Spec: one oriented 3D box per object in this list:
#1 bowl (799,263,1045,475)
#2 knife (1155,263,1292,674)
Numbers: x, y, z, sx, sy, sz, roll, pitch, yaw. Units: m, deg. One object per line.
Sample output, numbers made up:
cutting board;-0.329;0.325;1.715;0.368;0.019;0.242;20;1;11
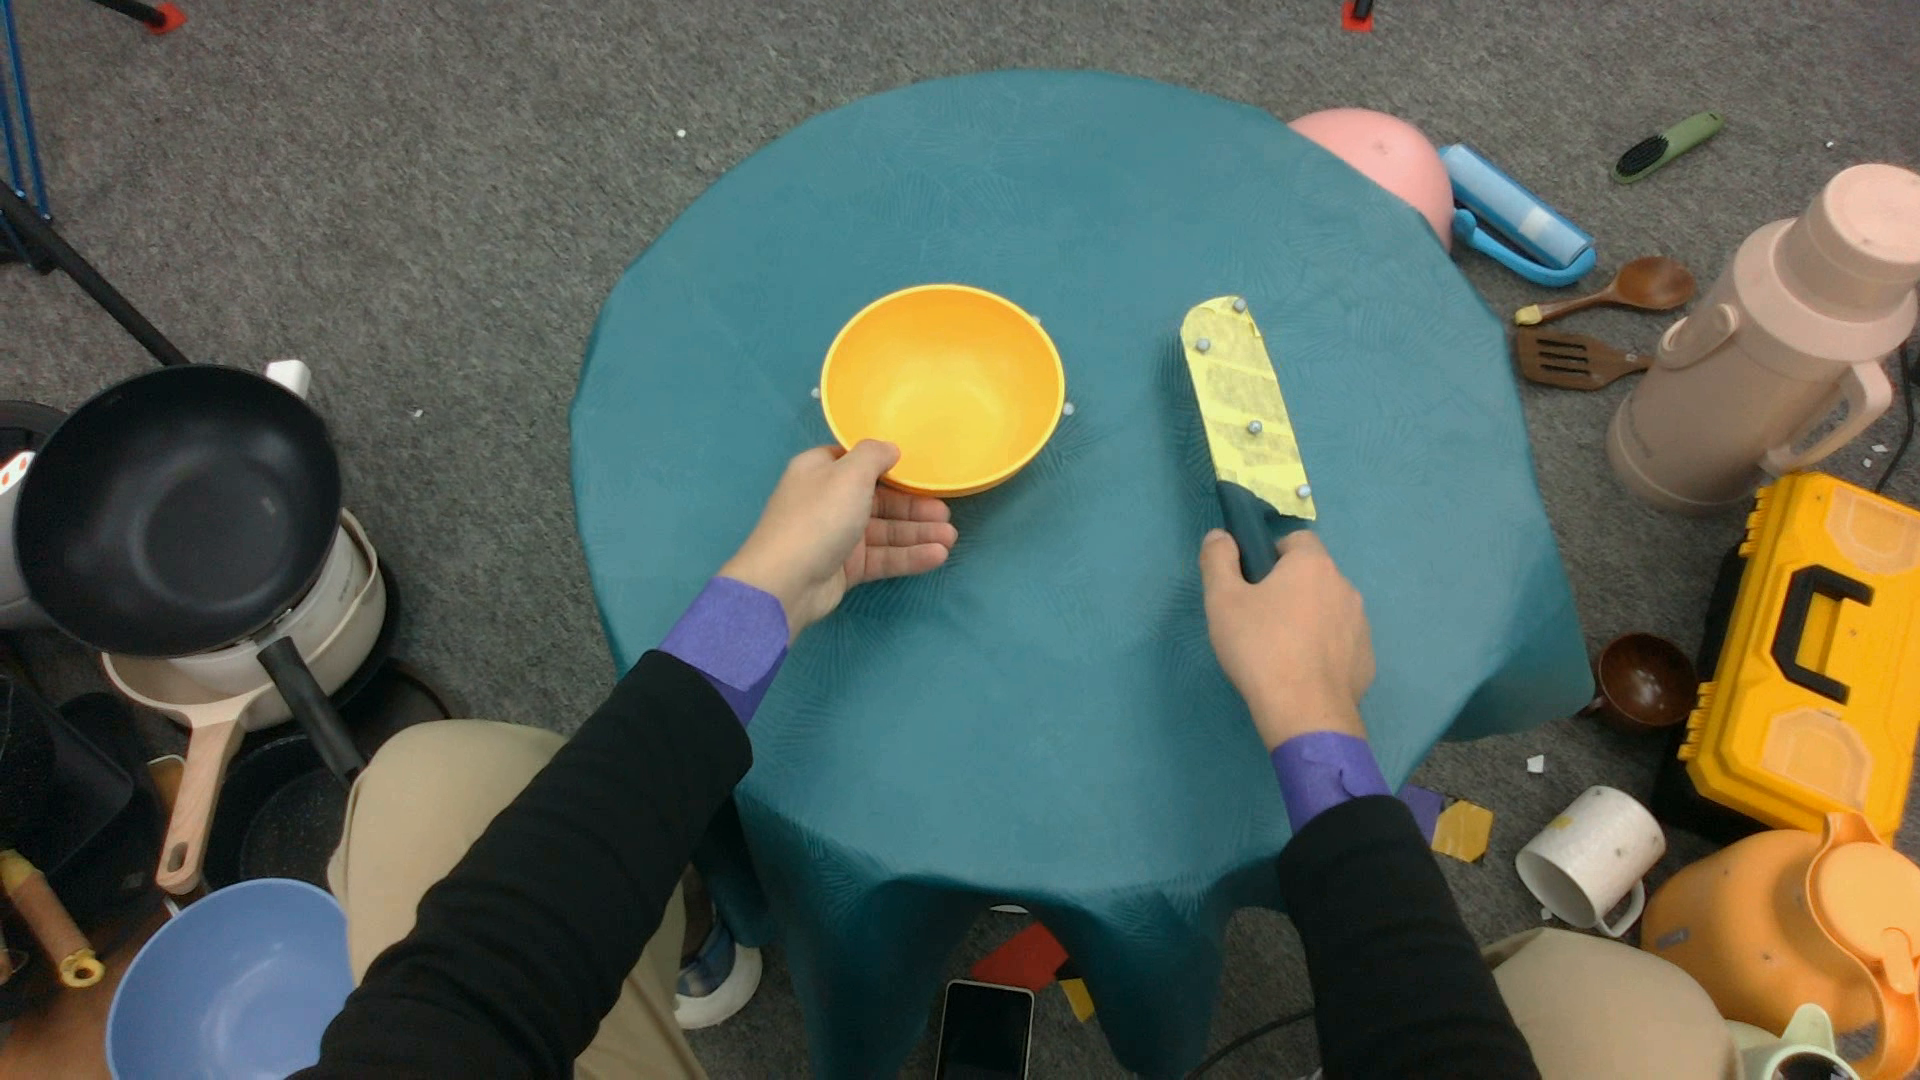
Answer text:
bowl;-0.022;-0.093;0.834;0.145;0.060;0.146;-1;63;2
knife;0.164;-0.053;0.821;0.081;0.027;0.290;11;57;-27
